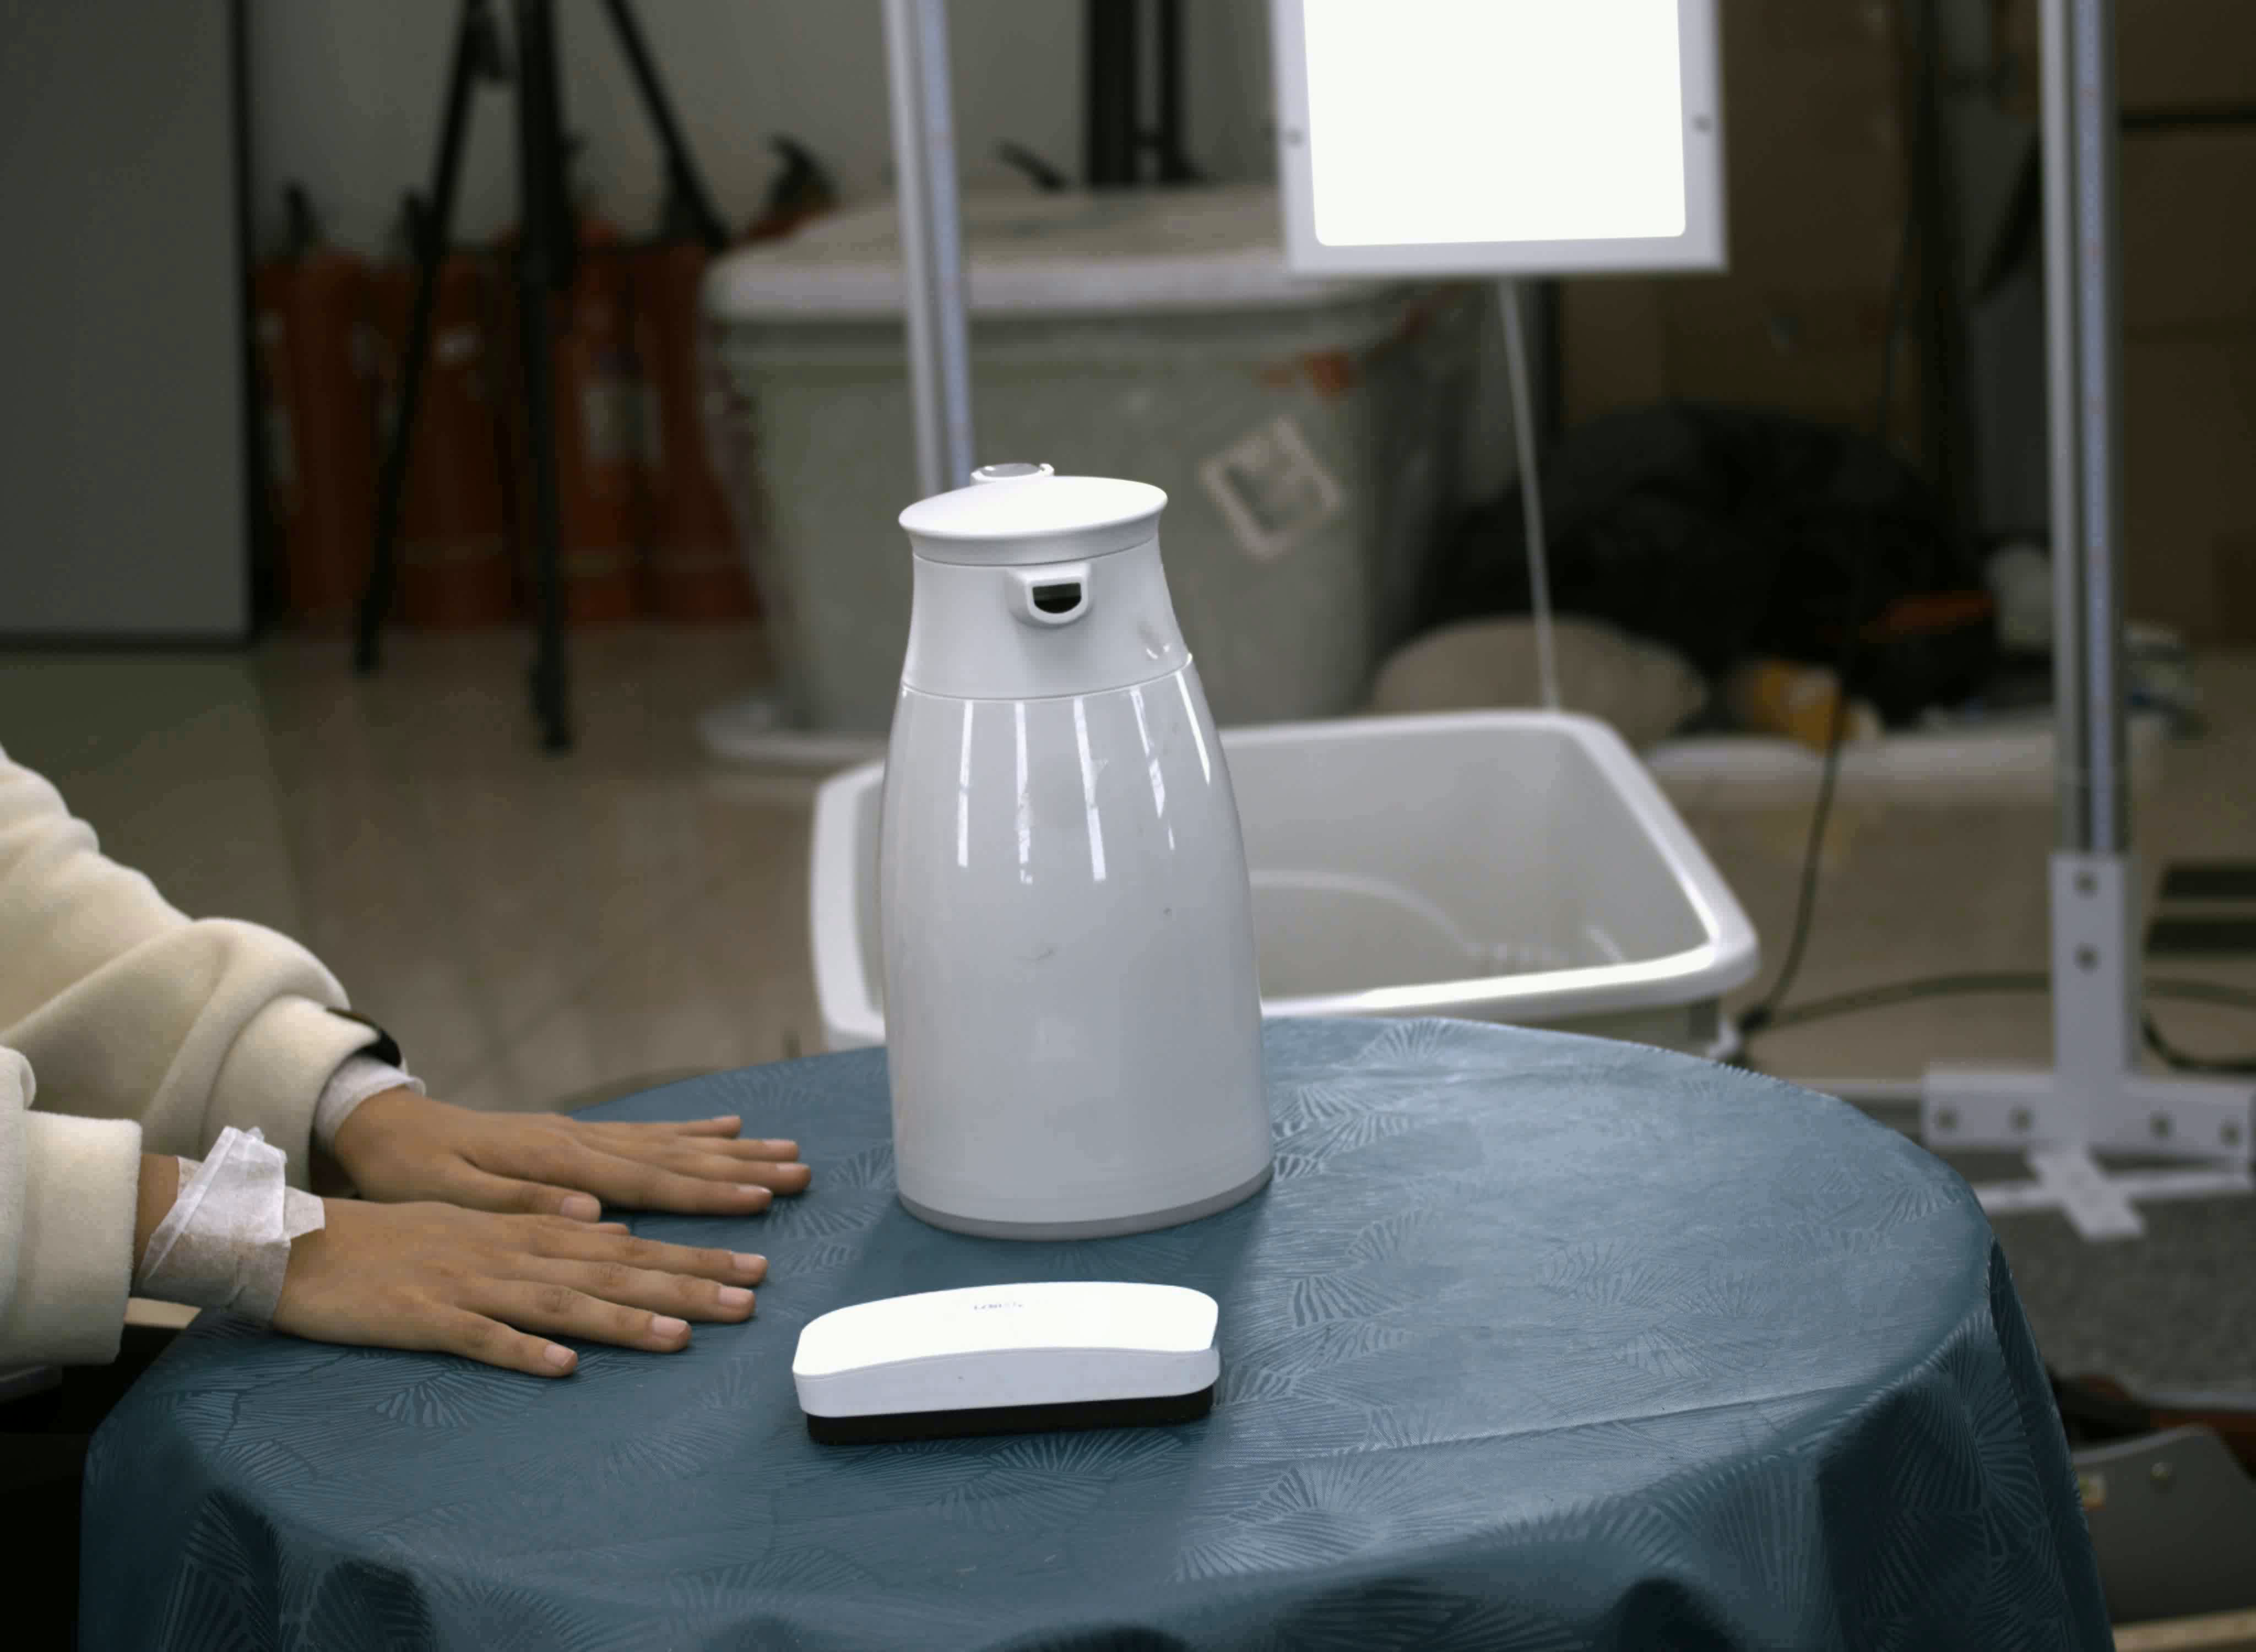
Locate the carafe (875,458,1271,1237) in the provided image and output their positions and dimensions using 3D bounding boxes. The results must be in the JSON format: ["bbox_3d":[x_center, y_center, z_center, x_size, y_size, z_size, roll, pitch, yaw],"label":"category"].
[{"bbox_3d":[-0.028,-0.001,1.903,0.131,0.249,0.168,-6,13,-6],"label":"carafe"}]

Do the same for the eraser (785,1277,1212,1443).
[{"bbox_3d":[-0.039,0.163,1.695,0.131,0.034,0.063,-3,12,5],"label":"eraser"}]
